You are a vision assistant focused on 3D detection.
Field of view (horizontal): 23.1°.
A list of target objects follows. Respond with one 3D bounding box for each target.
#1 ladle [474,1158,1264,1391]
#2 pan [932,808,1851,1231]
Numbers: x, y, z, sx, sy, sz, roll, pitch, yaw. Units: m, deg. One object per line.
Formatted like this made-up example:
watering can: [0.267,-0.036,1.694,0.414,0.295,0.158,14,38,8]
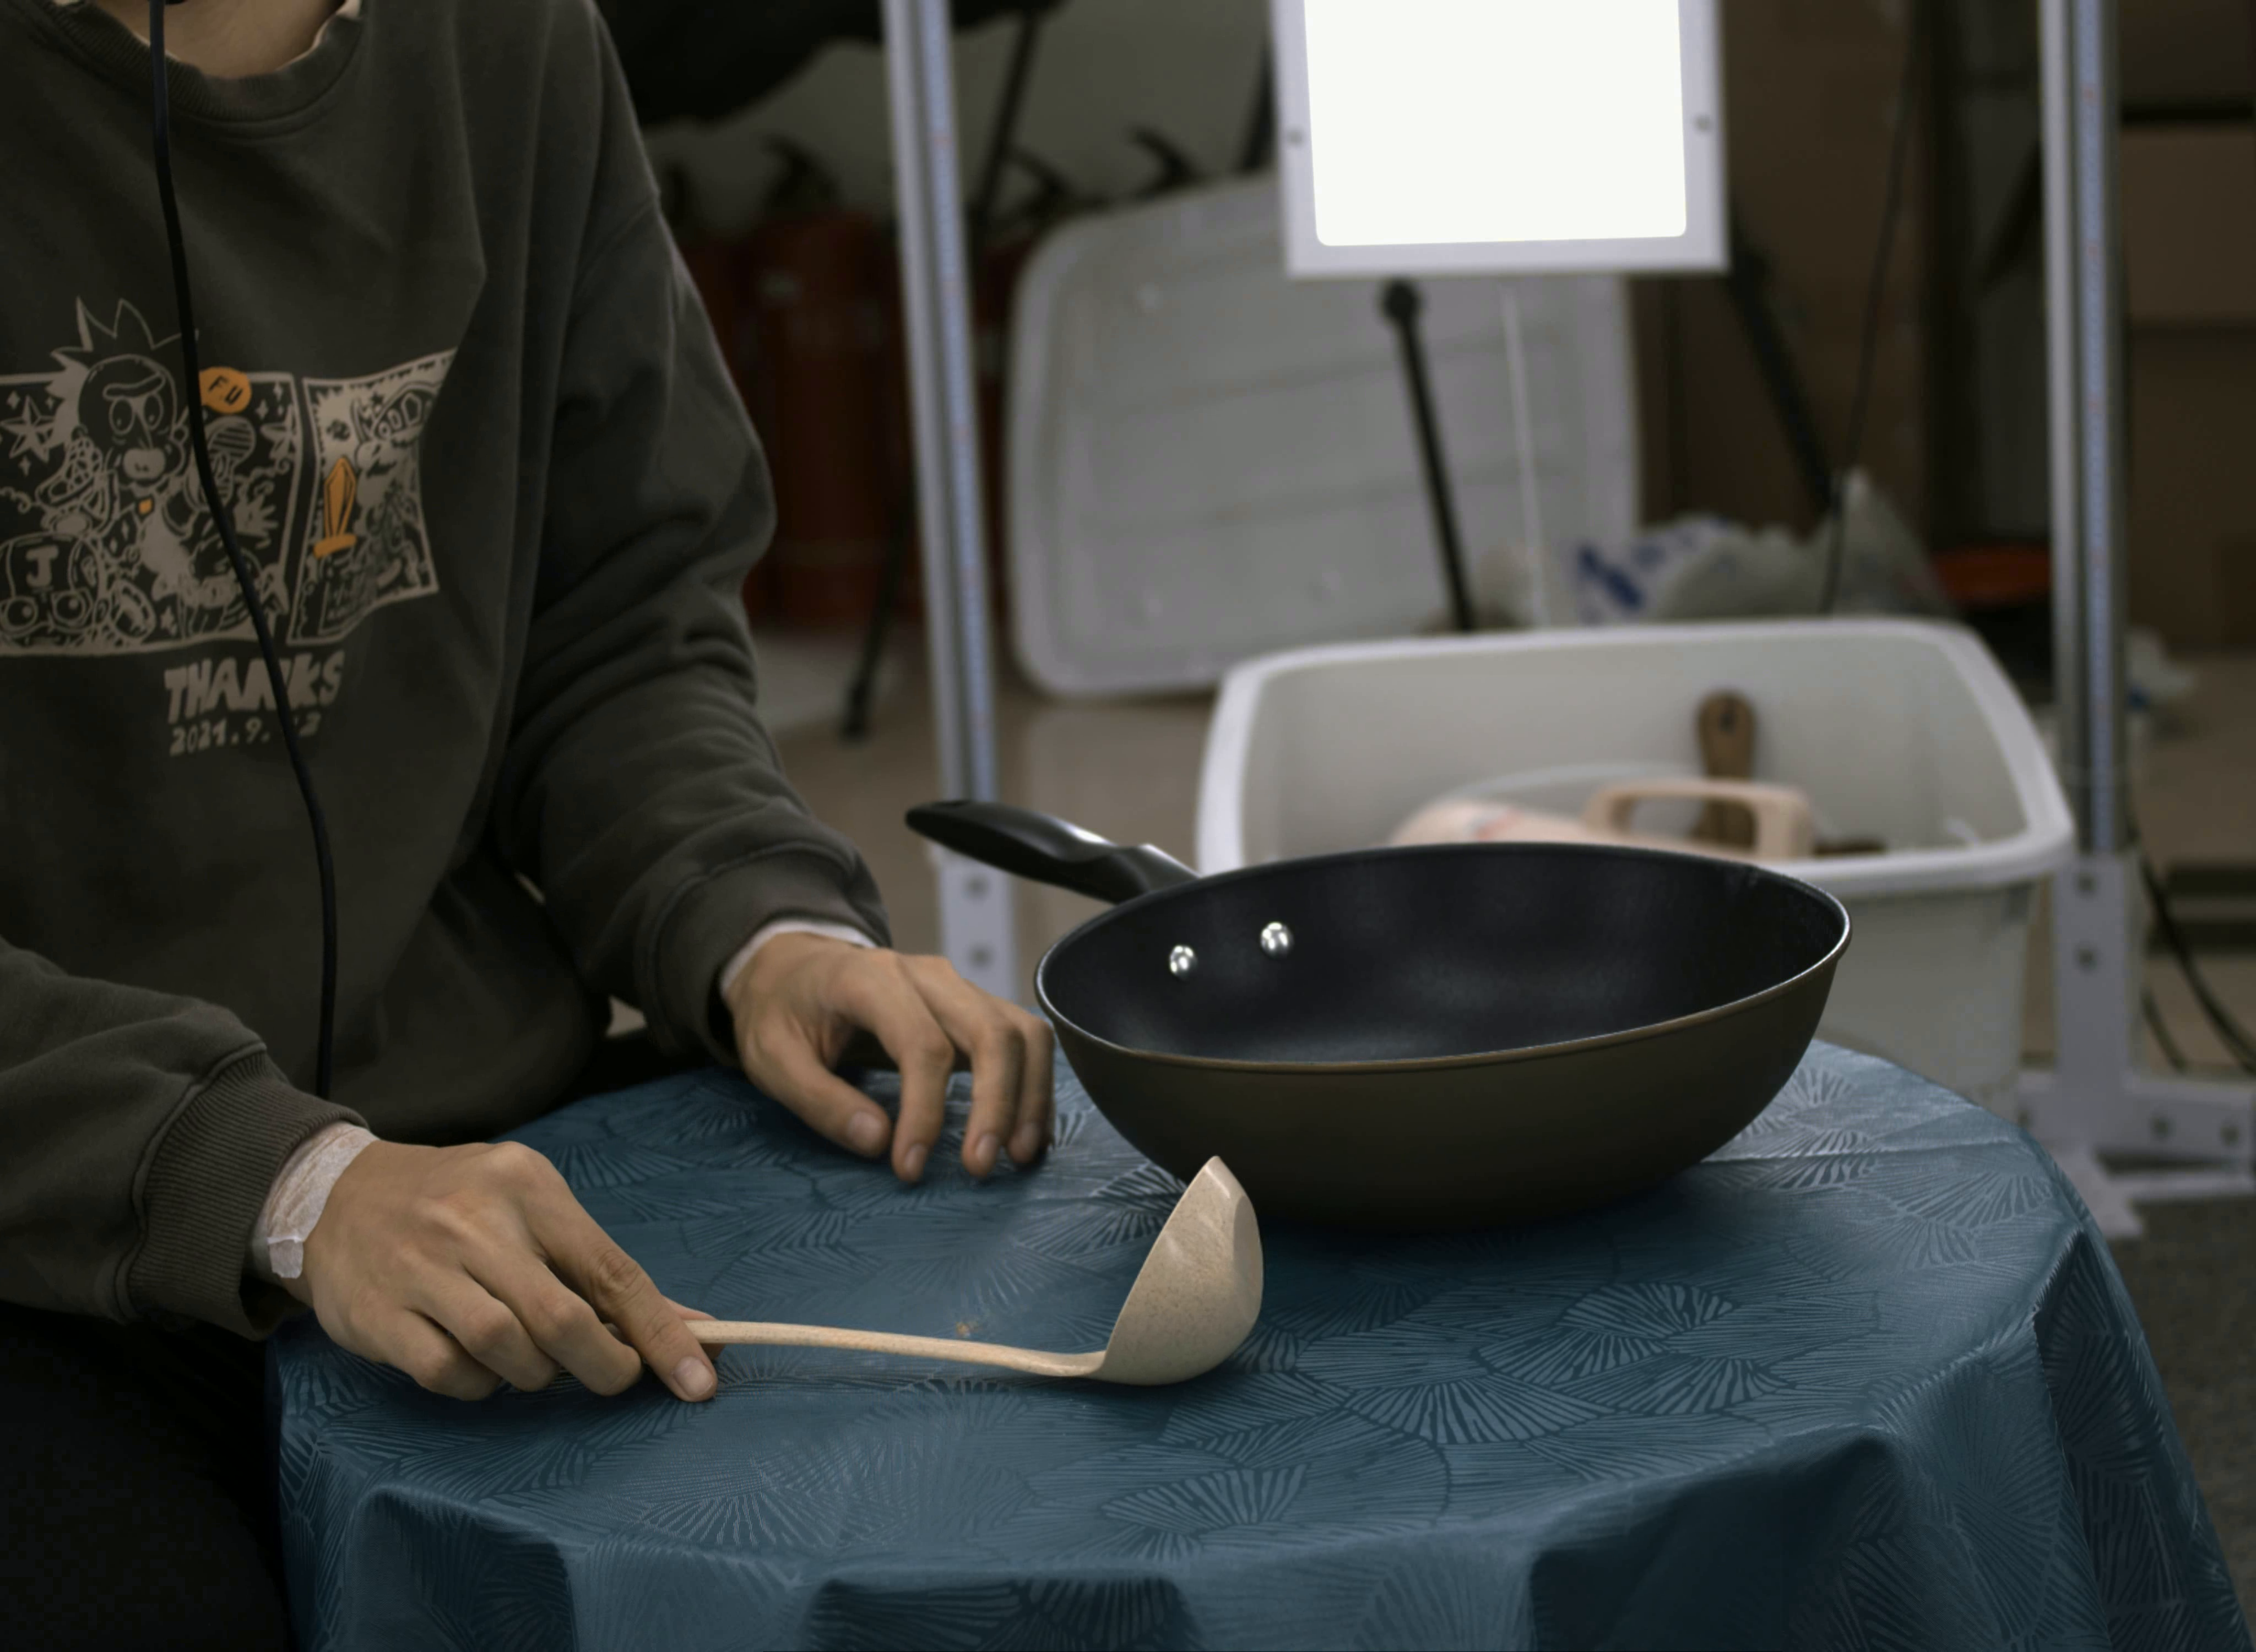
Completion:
ladle: [-0.084,0.135,1.724,0.256,0.073,0.071,2,9,14]
pan: [0.057,0.064,1.956,0.281,0.087,0.472,-14,15,-31]
